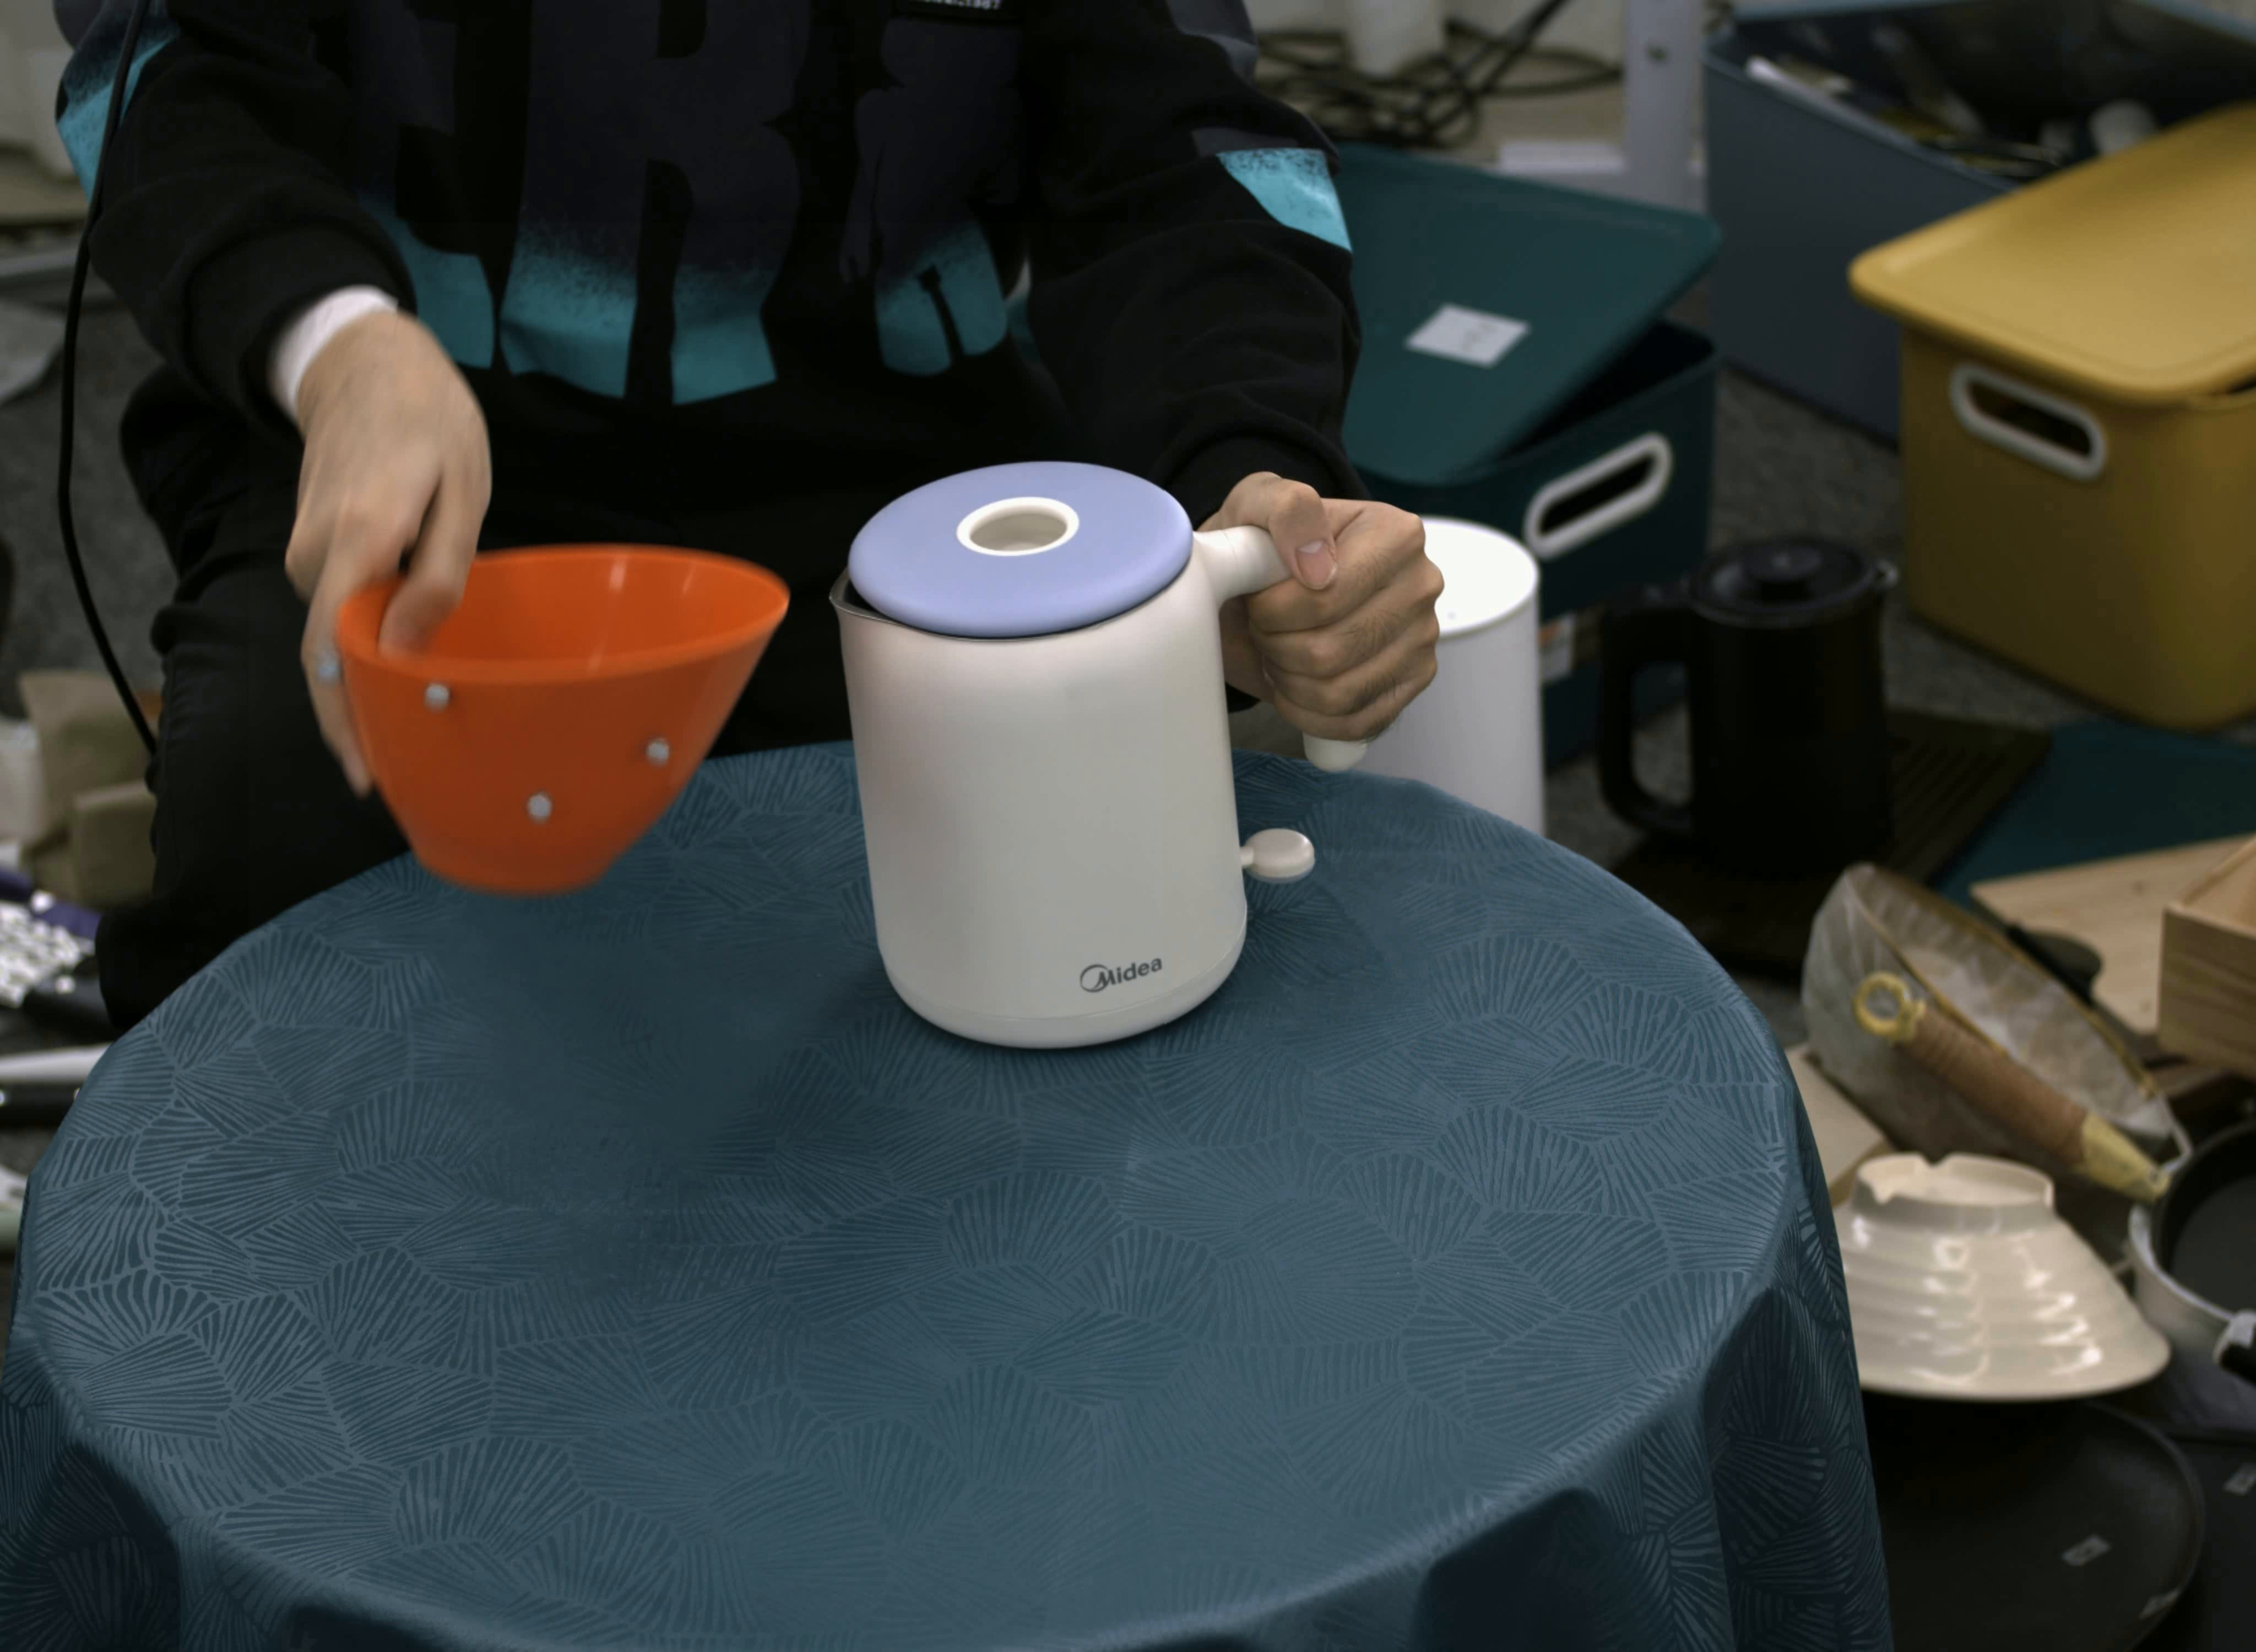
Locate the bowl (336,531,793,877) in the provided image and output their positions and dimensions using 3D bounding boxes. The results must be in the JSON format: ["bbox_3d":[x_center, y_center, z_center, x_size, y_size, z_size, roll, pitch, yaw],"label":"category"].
[{"bbox_3d":[-0.189,-0.040,1.847,0.147,0.104,0.150,8,20,-3],"label":"bowl"}]

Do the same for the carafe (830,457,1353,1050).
[{"bbox_3d":[-0.009,-0.031,1.964,0.191,0.180,0.133,-13,31,-19],"label":"carafe"}]
